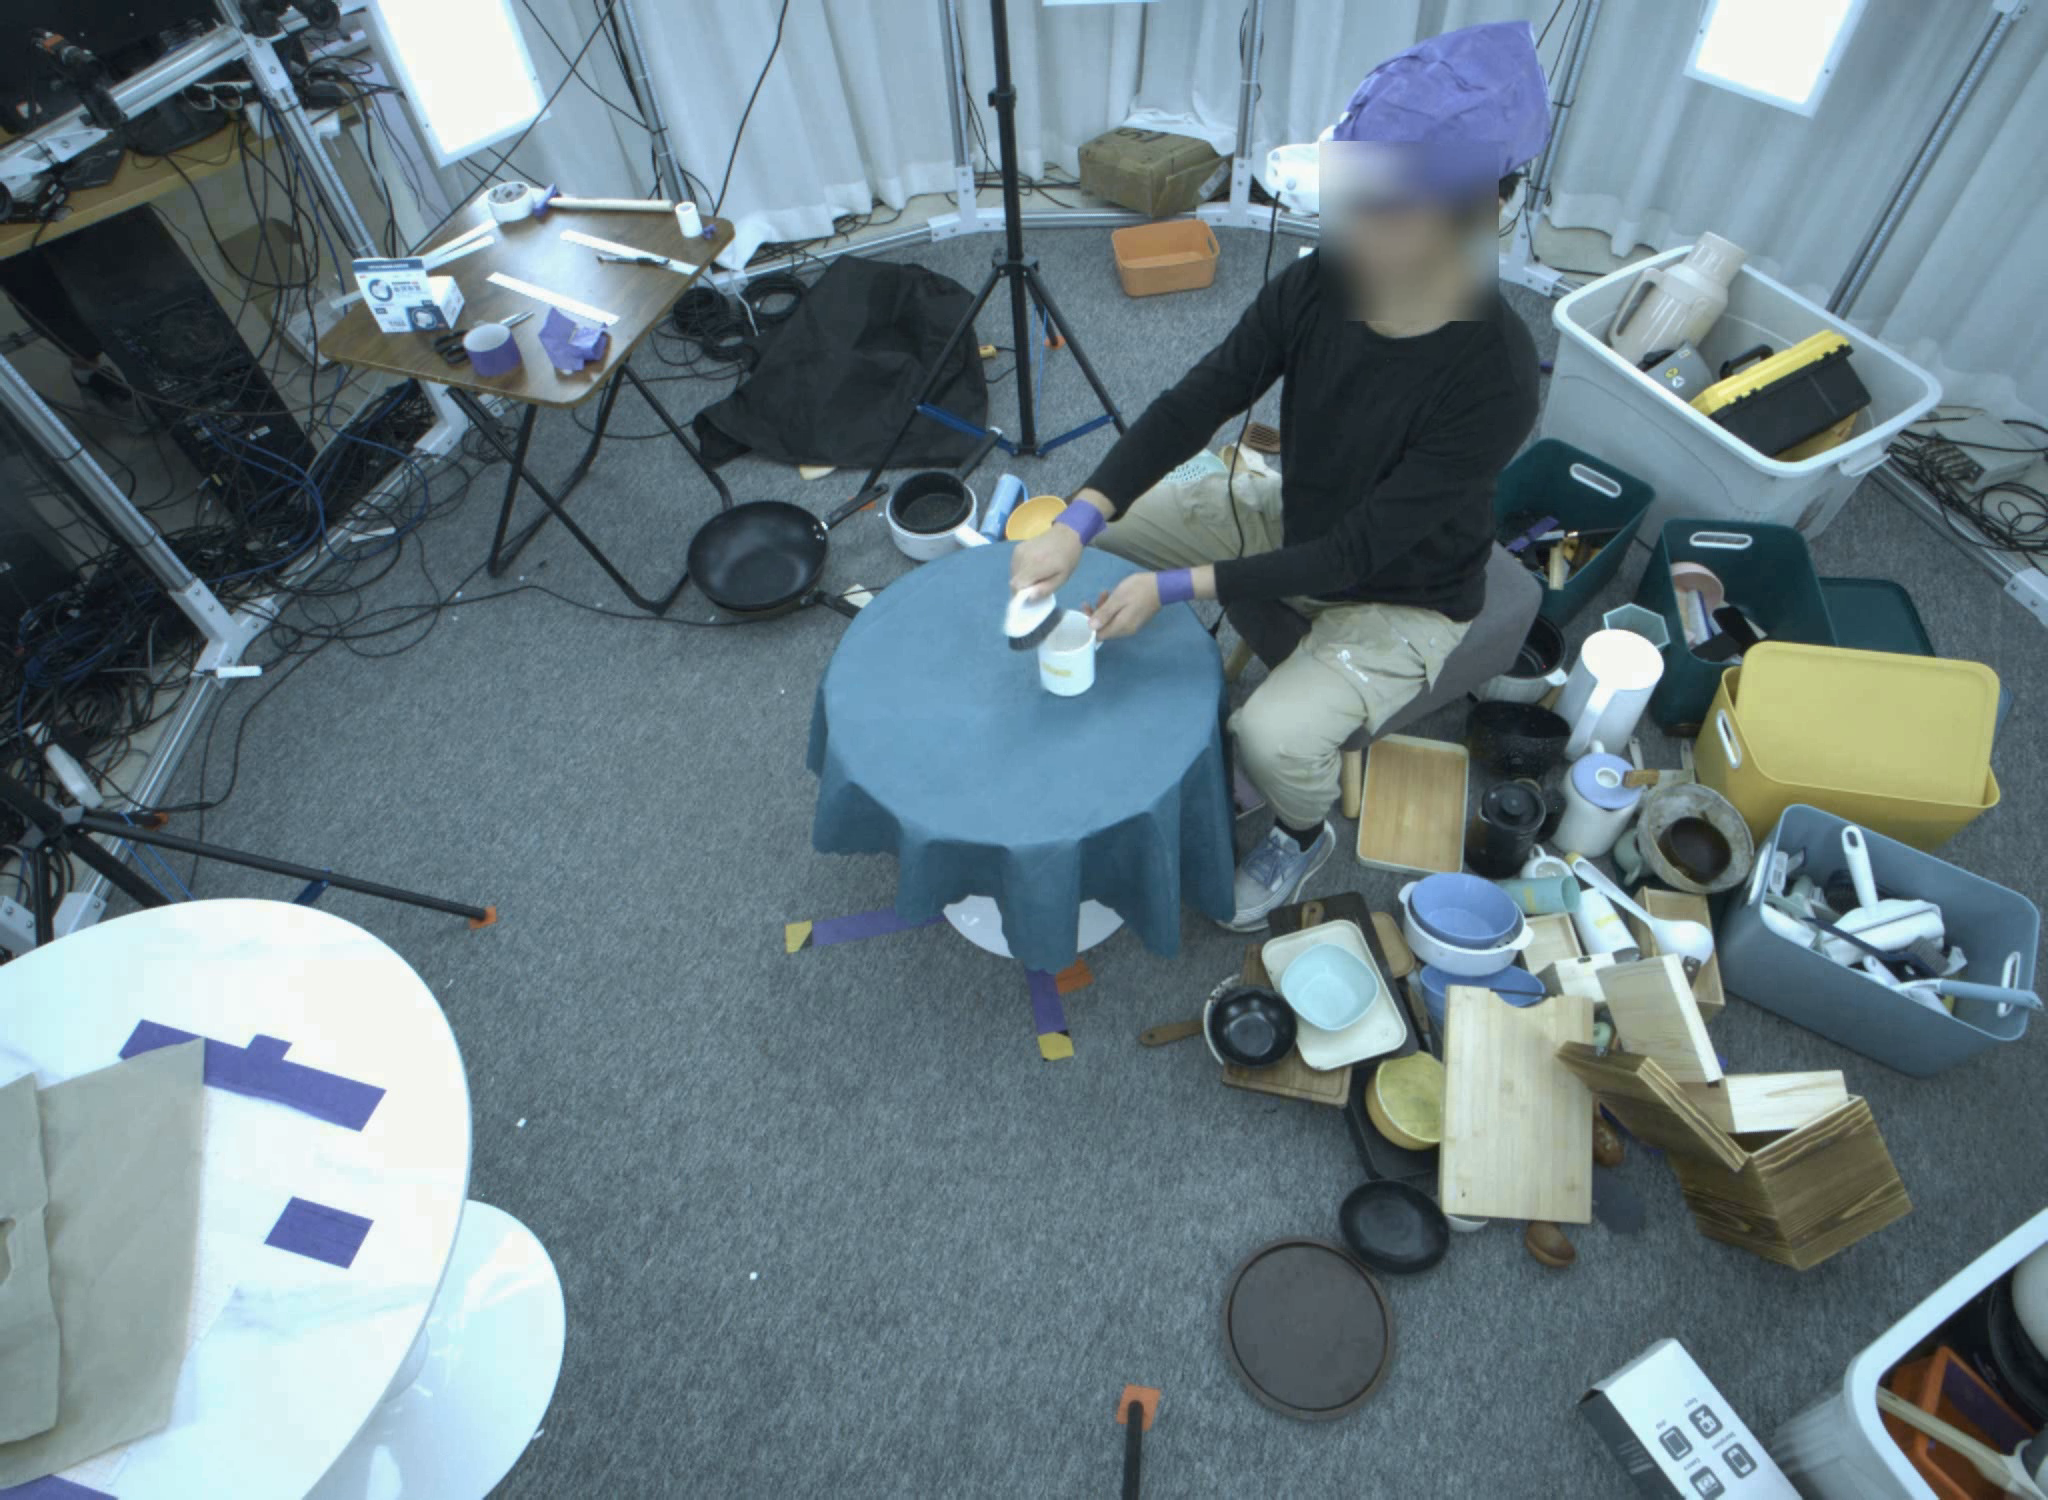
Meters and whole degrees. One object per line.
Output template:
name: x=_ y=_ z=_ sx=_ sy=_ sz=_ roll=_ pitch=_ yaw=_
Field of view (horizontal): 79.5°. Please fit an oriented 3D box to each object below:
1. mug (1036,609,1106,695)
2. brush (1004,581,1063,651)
mug: x=0.074 y=-0.153 z=1.830 sx=0.119 sy=0.103 sz=0.083 roll=-39 pitch=60 yaw=-21
brush: x=0.008 y=-0.199 z=1.752 sx=0.049 sy=0.074 sz=0.100 roll=18 pitch=52 yaw=36
